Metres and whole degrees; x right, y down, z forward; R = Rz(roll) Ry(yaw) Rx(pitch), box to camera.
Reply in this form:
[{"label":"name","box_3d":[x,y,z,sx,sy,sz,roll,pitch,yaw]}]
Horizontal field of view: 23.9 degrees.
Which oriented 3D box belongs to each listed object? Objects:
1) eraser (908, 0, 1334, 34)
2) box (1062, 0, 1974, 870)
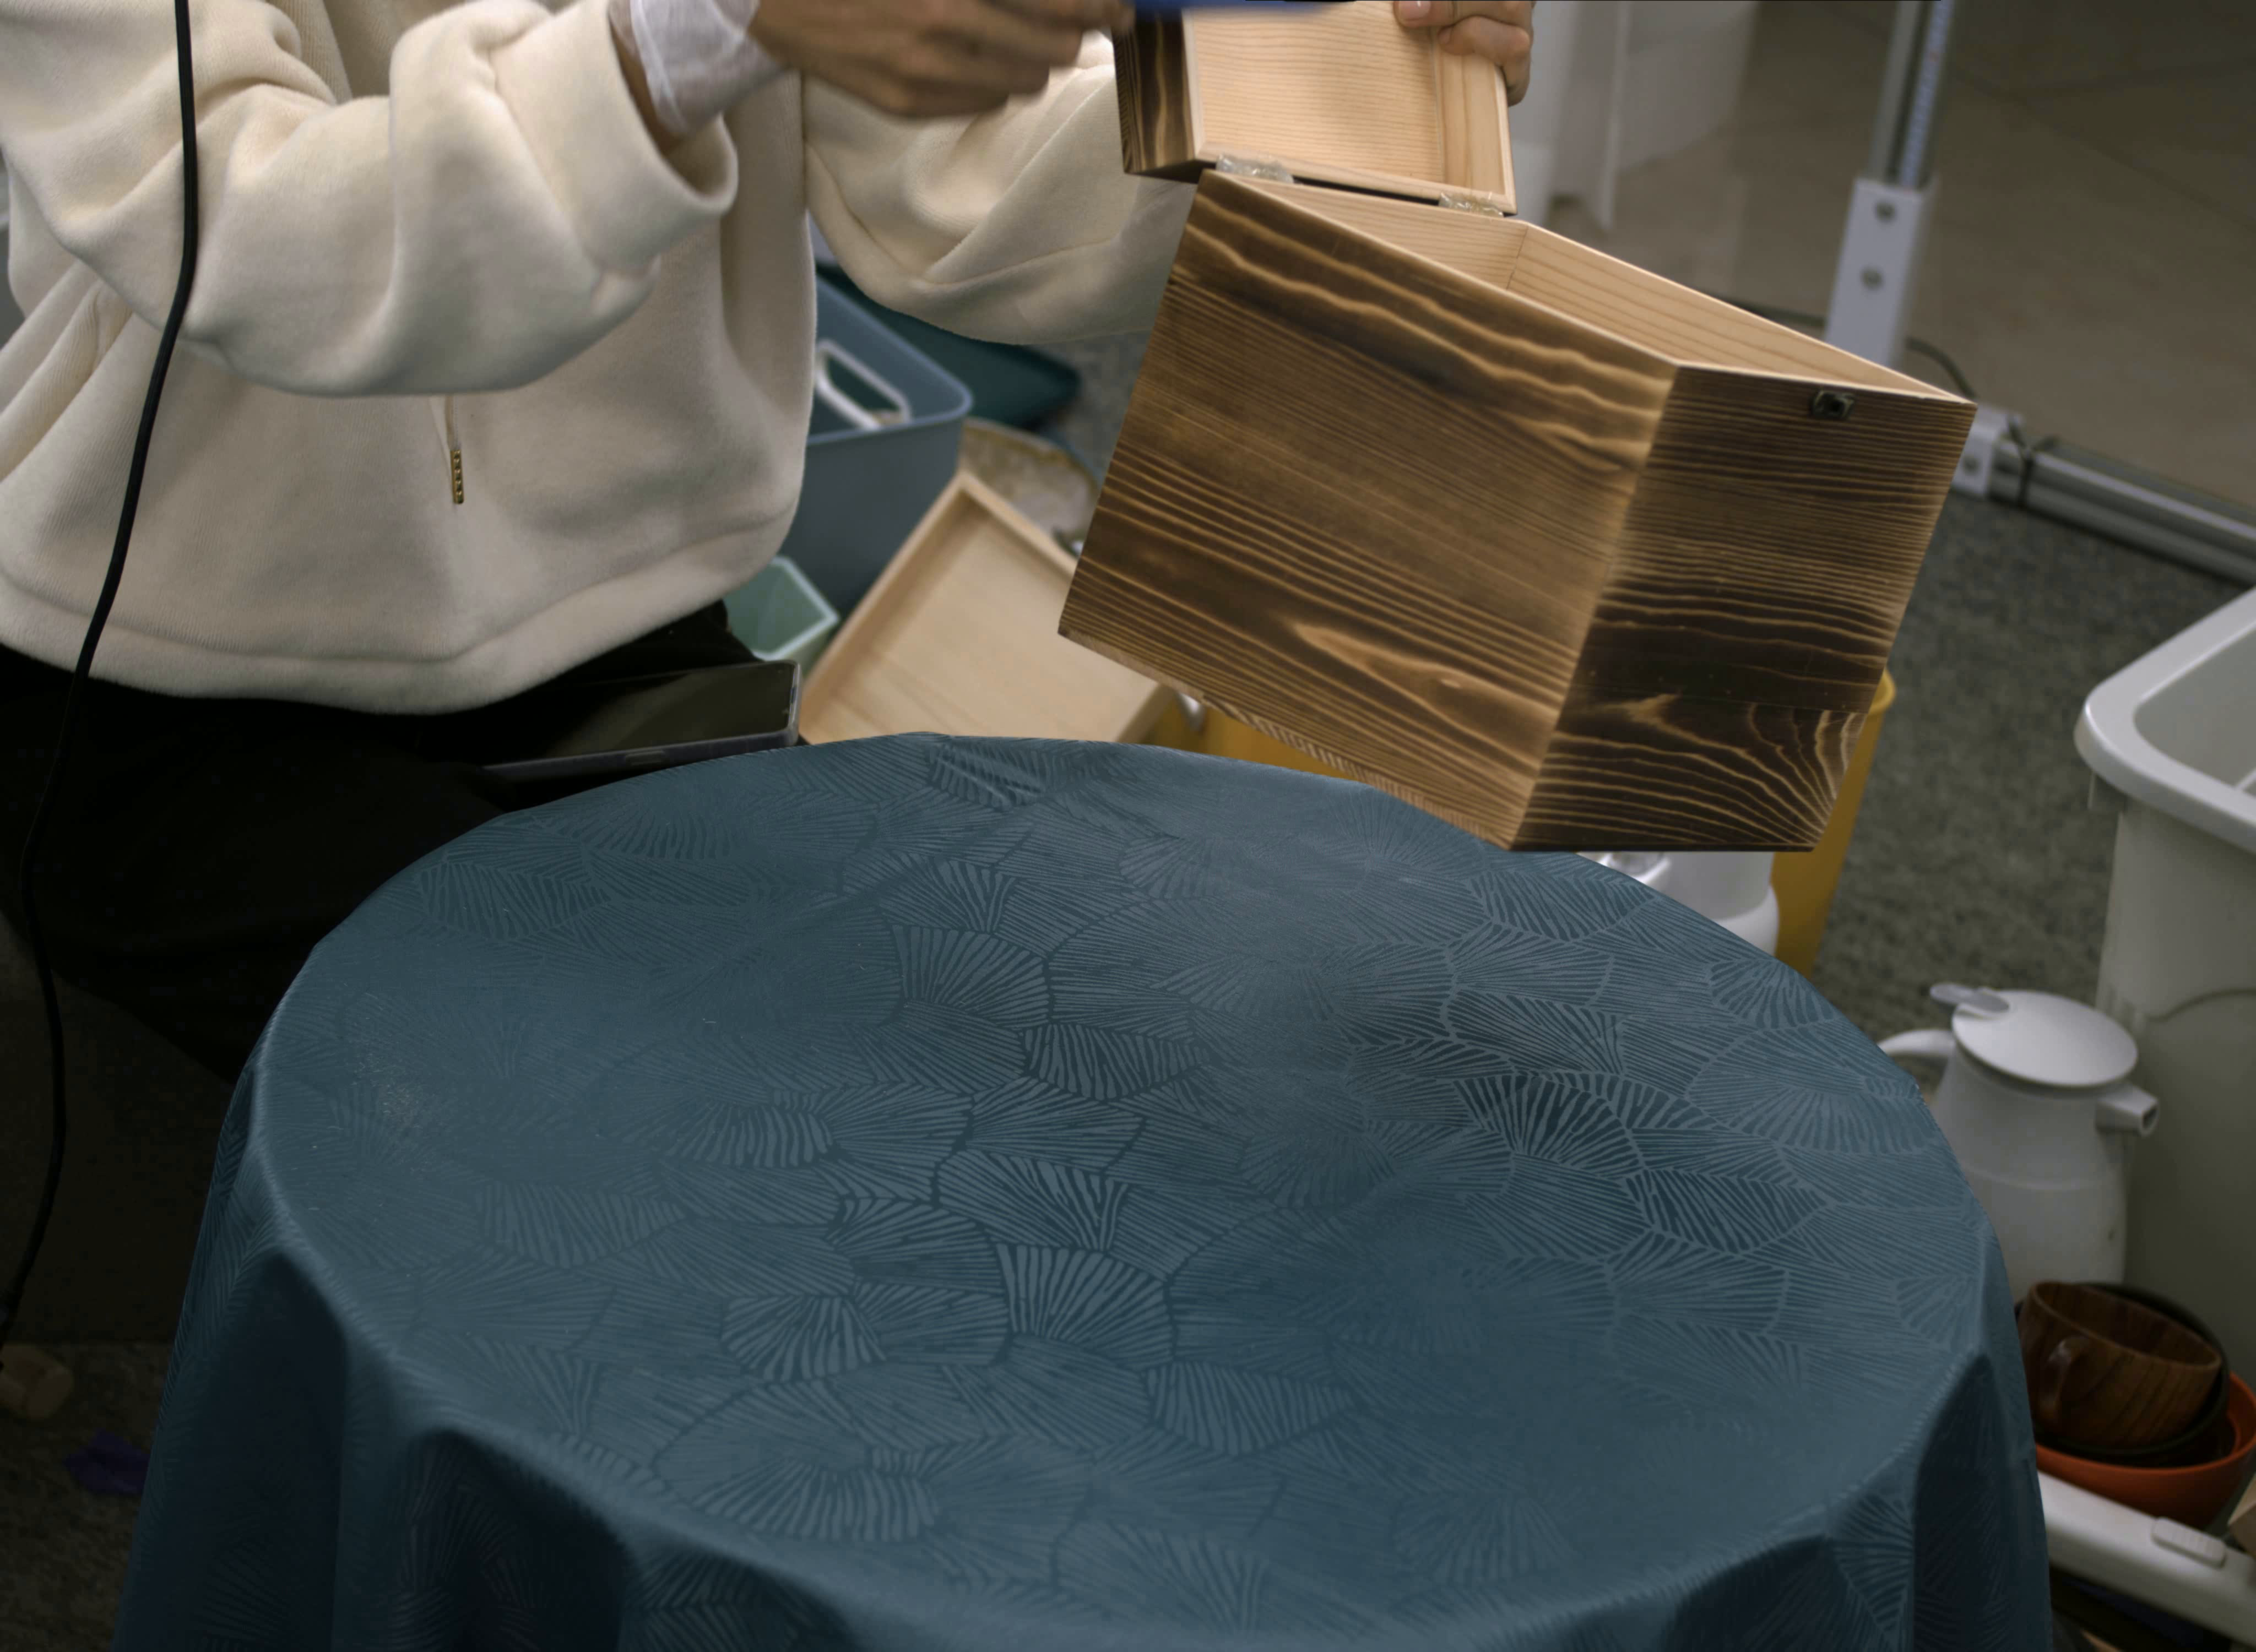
[{"label":"eraser","box_3d":[-0.005,-0.295,1.786,0.163,0.054,0.047,5,-1,35]},{"label":"box","box_3d":[0.122,-0.213,1.840,0.324,0.375,0.207,25,15,35]}]
